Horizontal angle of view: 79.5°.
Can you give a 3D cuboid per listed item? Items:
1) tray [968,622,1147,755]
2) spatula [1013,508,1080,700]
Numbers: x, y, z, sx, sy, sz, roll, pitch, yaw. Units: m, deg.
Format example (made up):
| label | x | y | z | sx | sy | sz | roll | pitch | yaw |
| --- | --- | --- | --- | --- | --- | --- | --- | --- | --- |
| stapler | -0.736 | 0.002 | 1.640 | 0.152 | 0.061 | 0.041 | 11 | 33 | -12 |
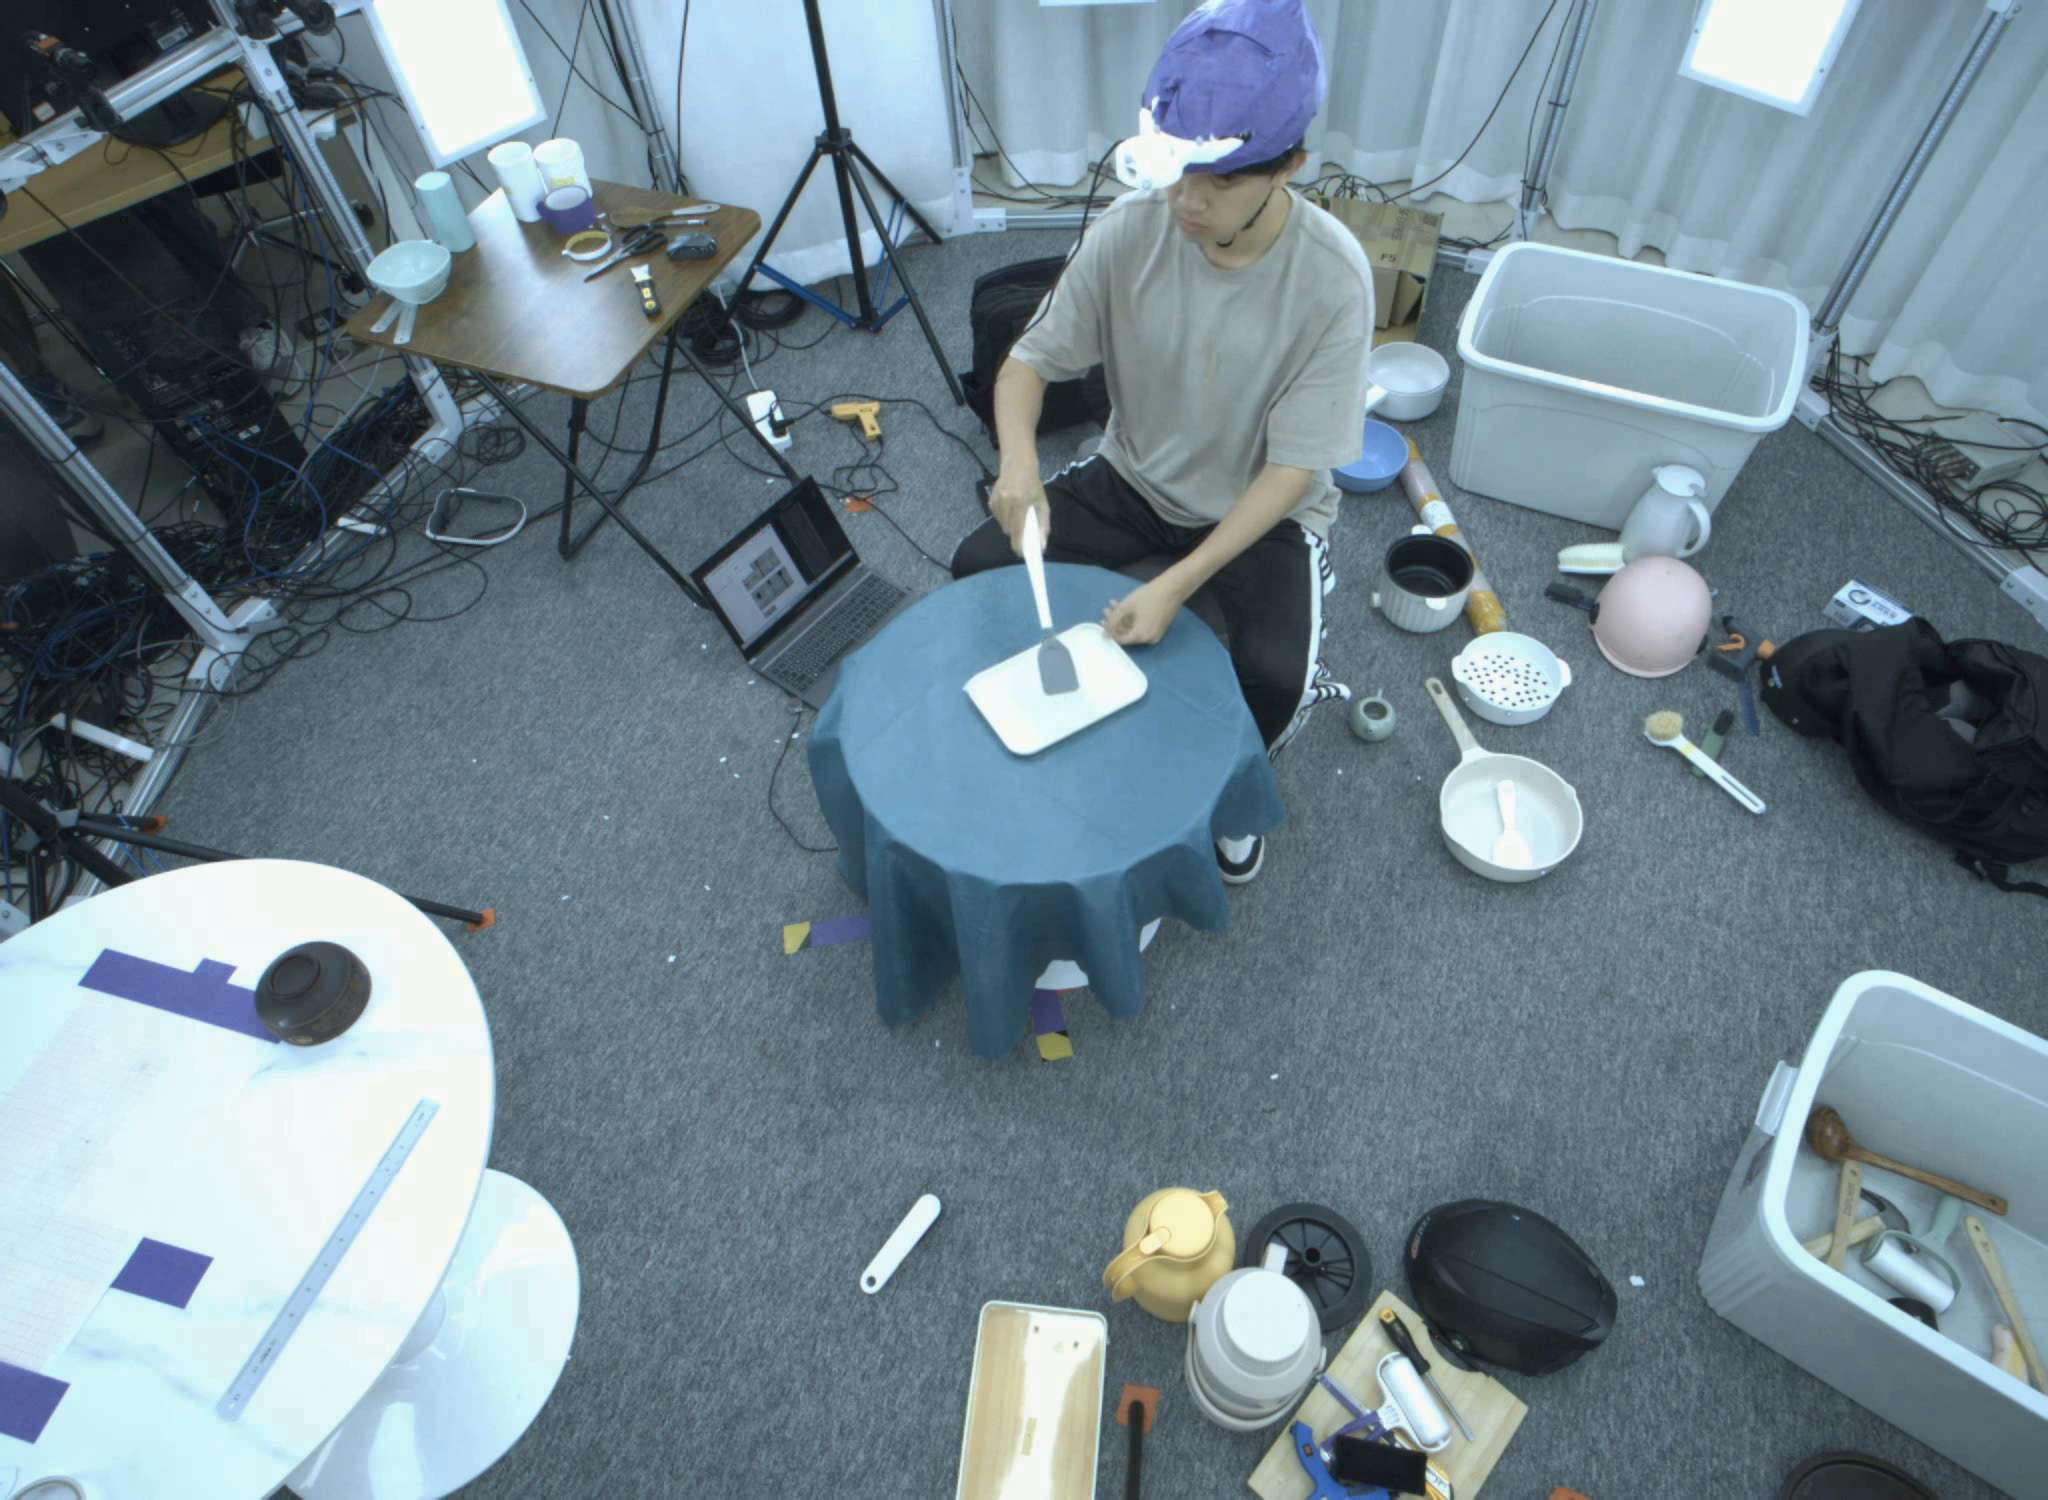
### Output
| label | x | y | z | sx | sy | sz | roll | pitch | yaw |
| --- | --- | --- | --- | --- | --- | --- | --- | --- | --- |
| tray | 0.050 | -0.092 | 1.837 | 0.241 | 0.017 | 0.168 | -27 | 59 | -16 |
| spatula | 0.026 | -0.210 | 1.768 | 0.059 | 0.032 | 0.286 | -10 | 82 | -11 |
